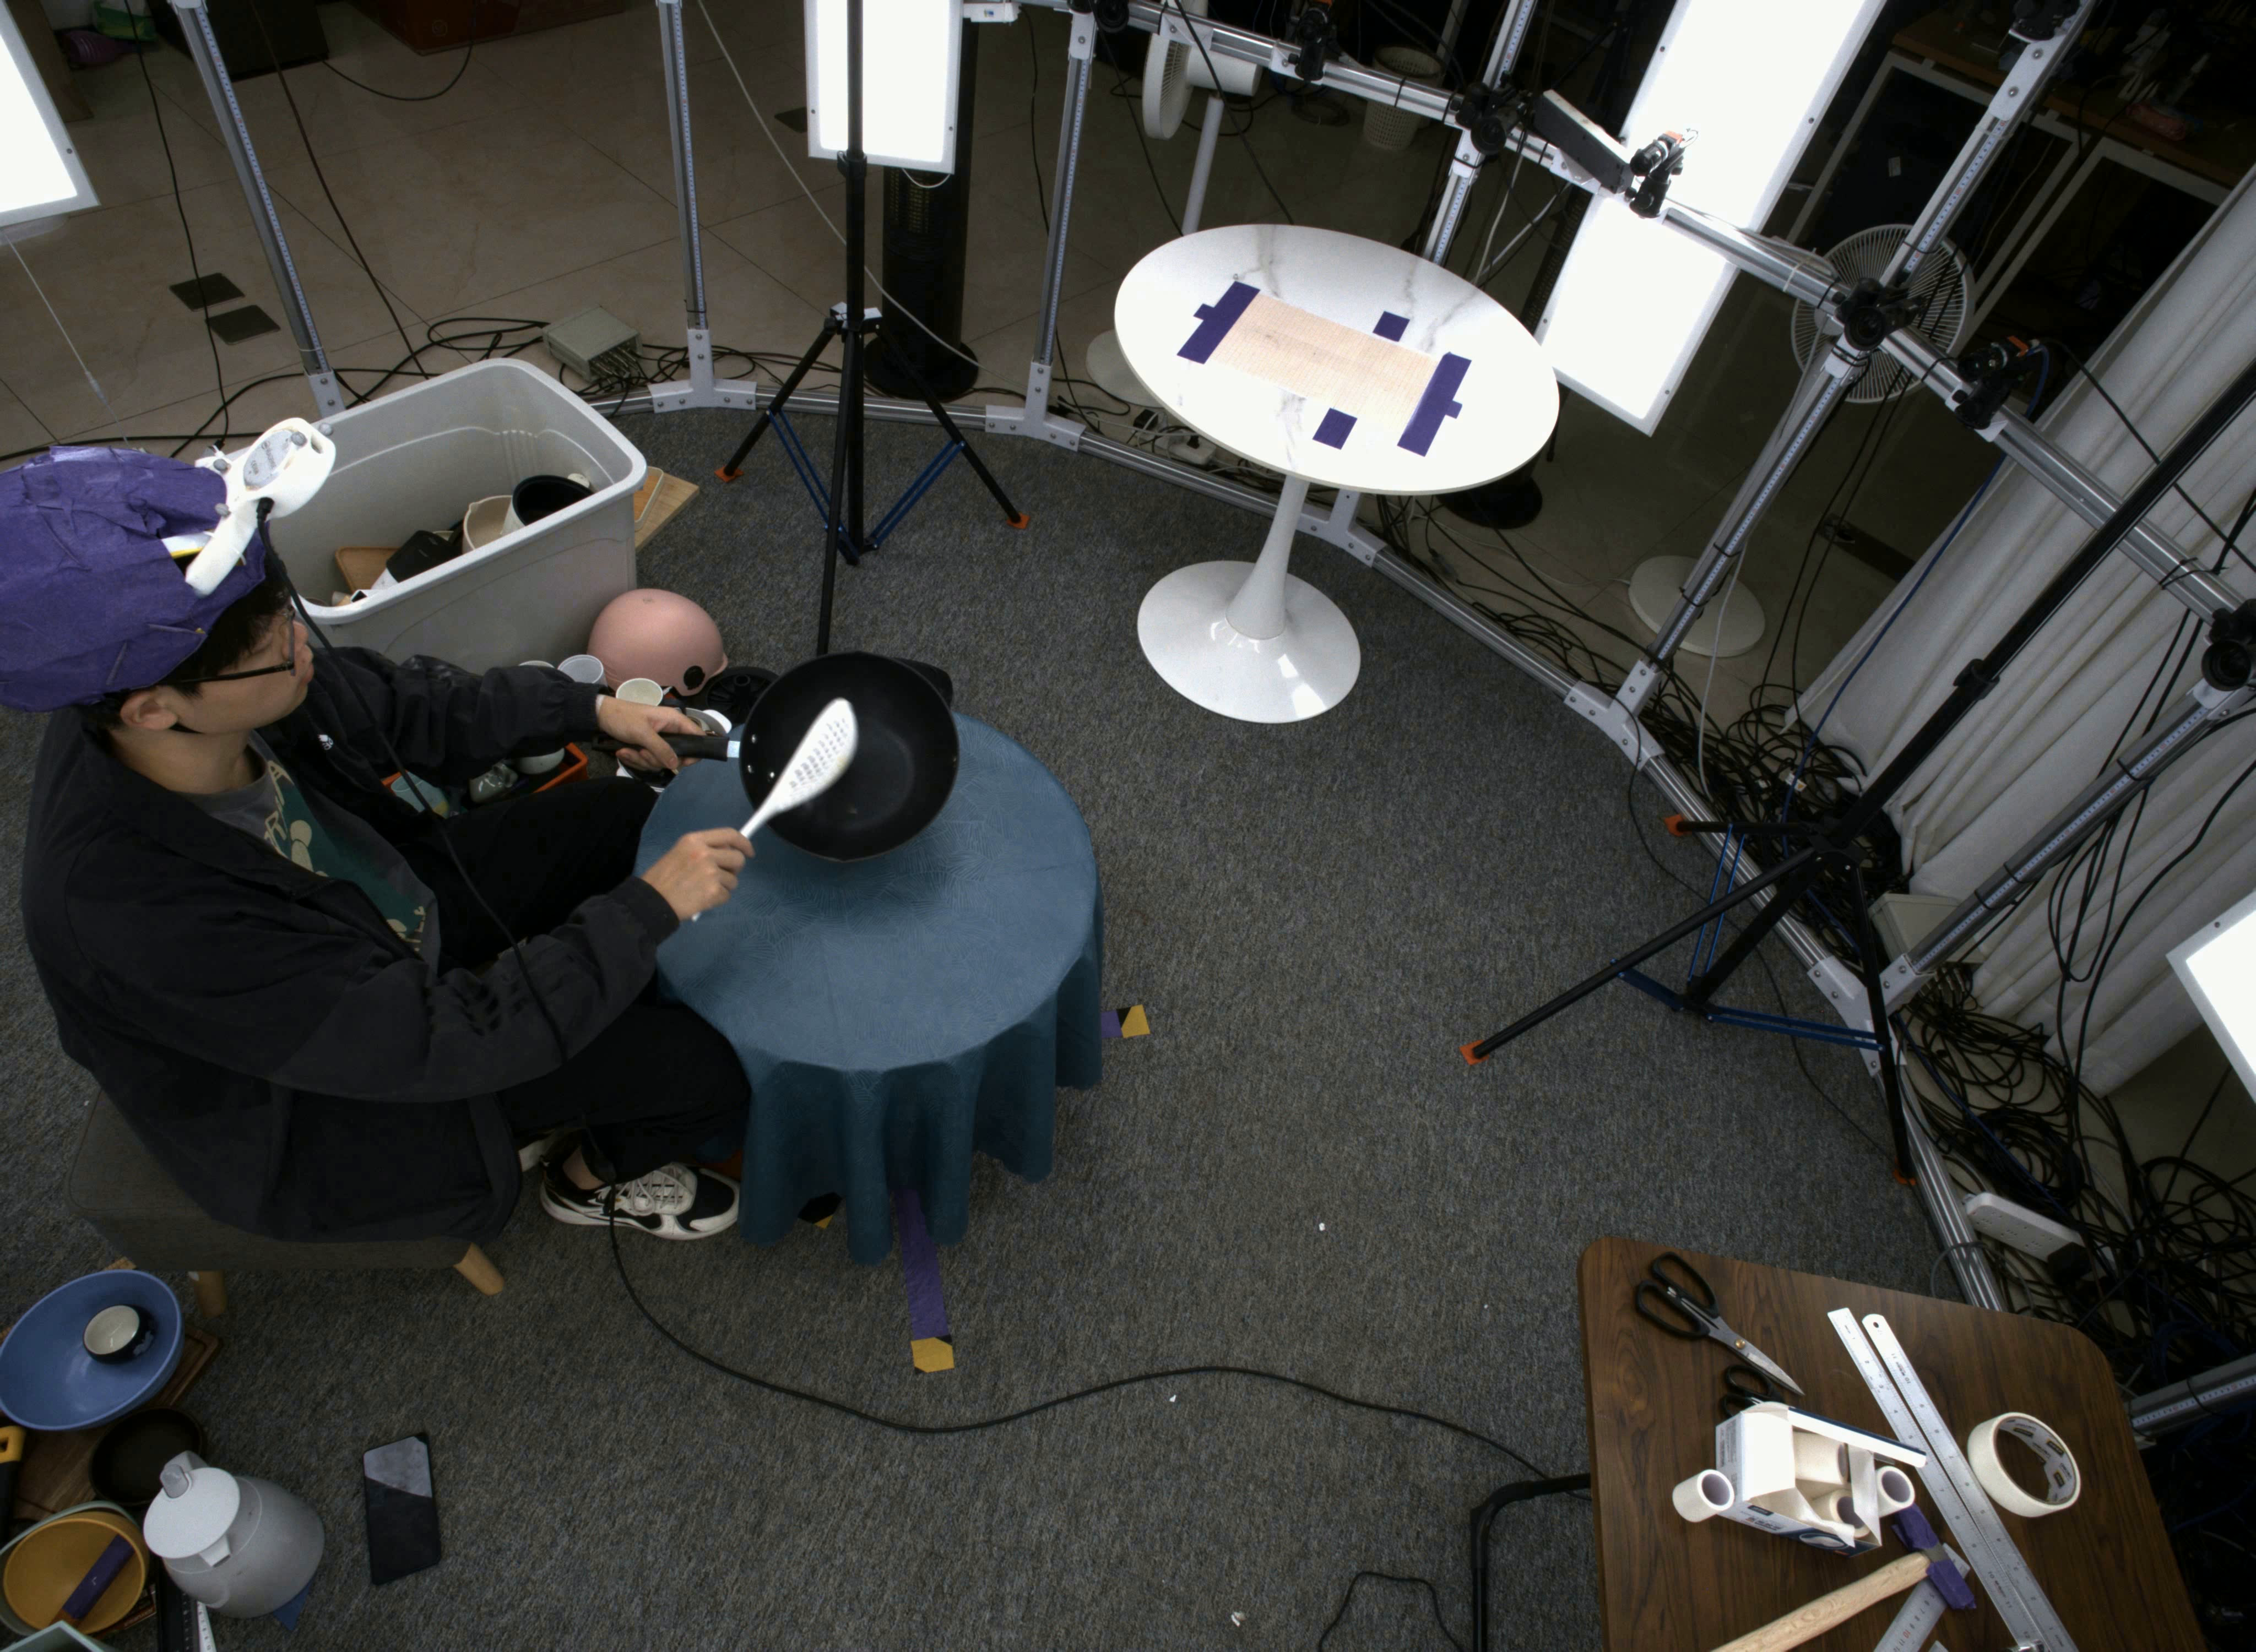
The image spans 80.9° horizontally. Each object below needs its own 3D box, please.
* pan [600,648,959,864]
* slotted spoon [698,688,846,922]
[{"bbox_3d":[-0.446,-0.086,1.666,0.461,0.087,0.287,3,74,-7],"label":"pan"},{"bbox_3d":[-0.431,-0.024,1.565,0.050,0.138,0.346,30,56,4],"label":"slotted spoon"}]
